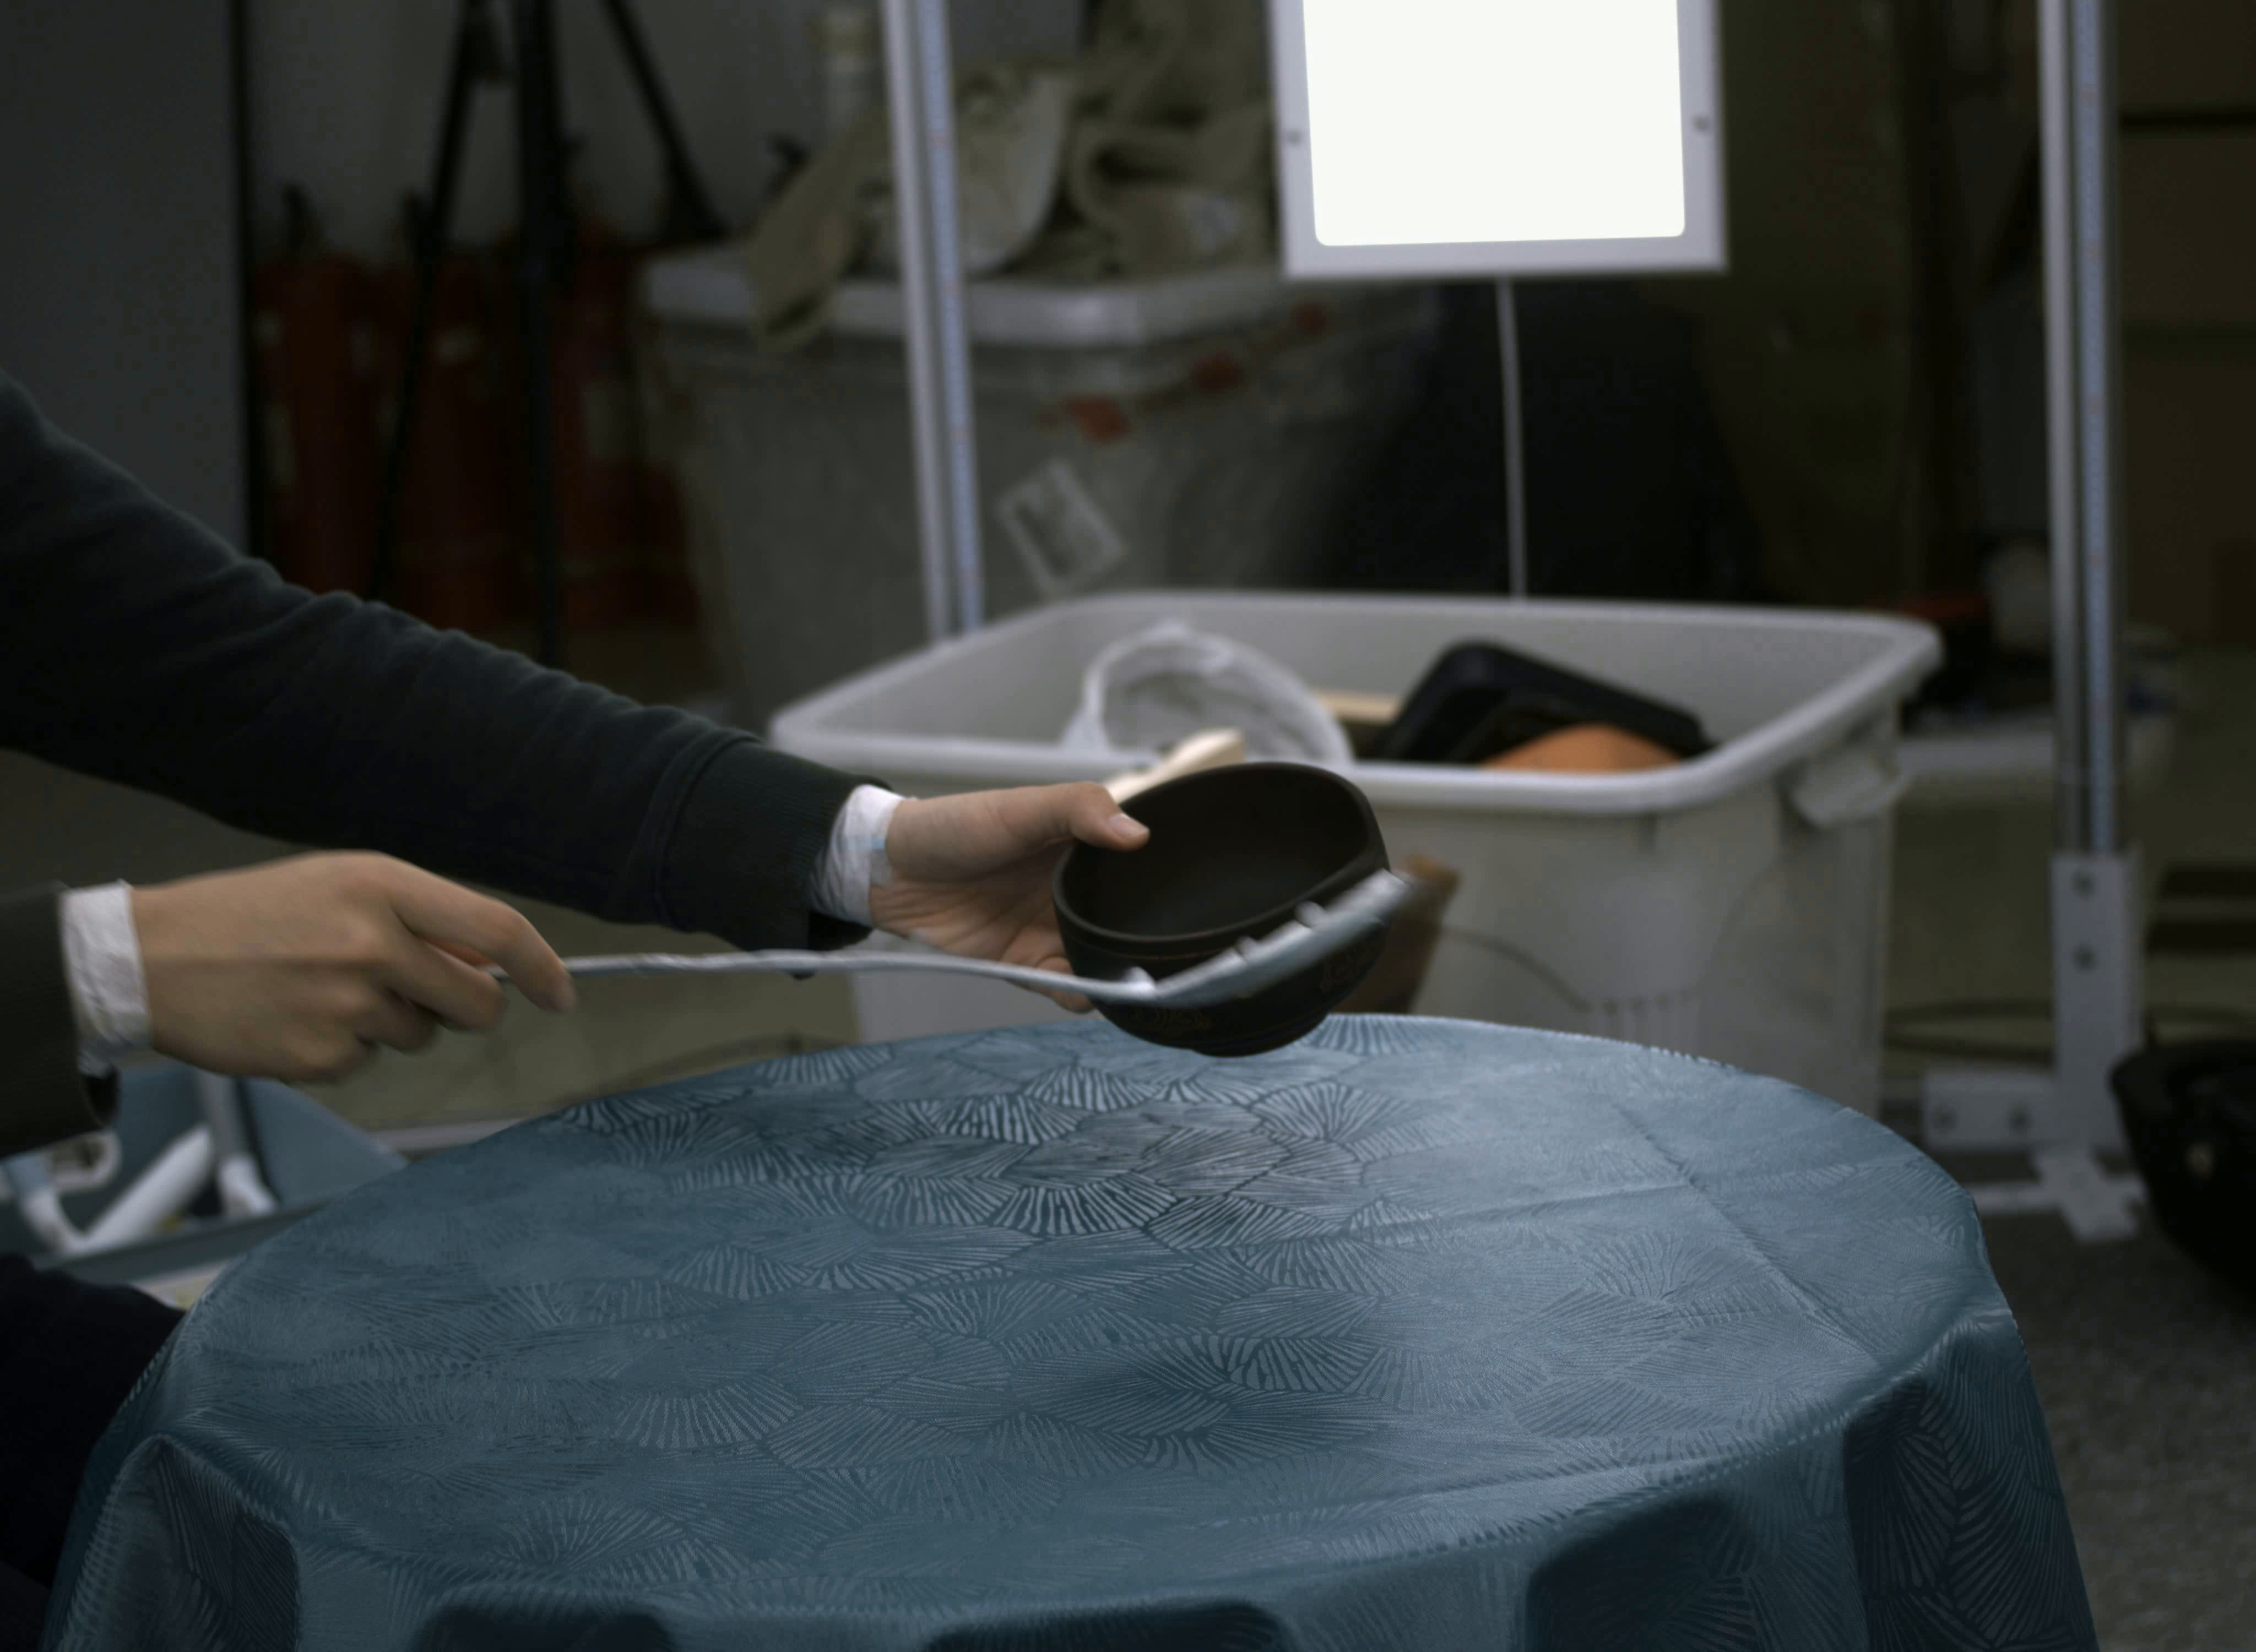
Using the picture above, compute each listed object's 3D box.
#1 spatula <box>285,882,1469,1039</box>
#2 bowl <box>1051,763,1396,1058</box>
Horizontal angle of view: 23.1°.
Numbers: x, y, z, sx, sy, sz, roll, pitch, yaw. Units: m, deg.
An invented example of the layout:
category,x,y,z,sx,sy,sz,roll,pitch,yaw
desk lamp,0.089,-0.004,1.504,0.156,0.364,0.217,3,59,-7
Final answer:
category,x,y,z,sx,sy,sz,roll,pitch,yaw
spatula,-0.077,0.041,1.682,0.364,0.045,0.098,-1,1,0
bowl,0.037,0.036,1.901,0.118,0.070,0.118,-14,27,6
